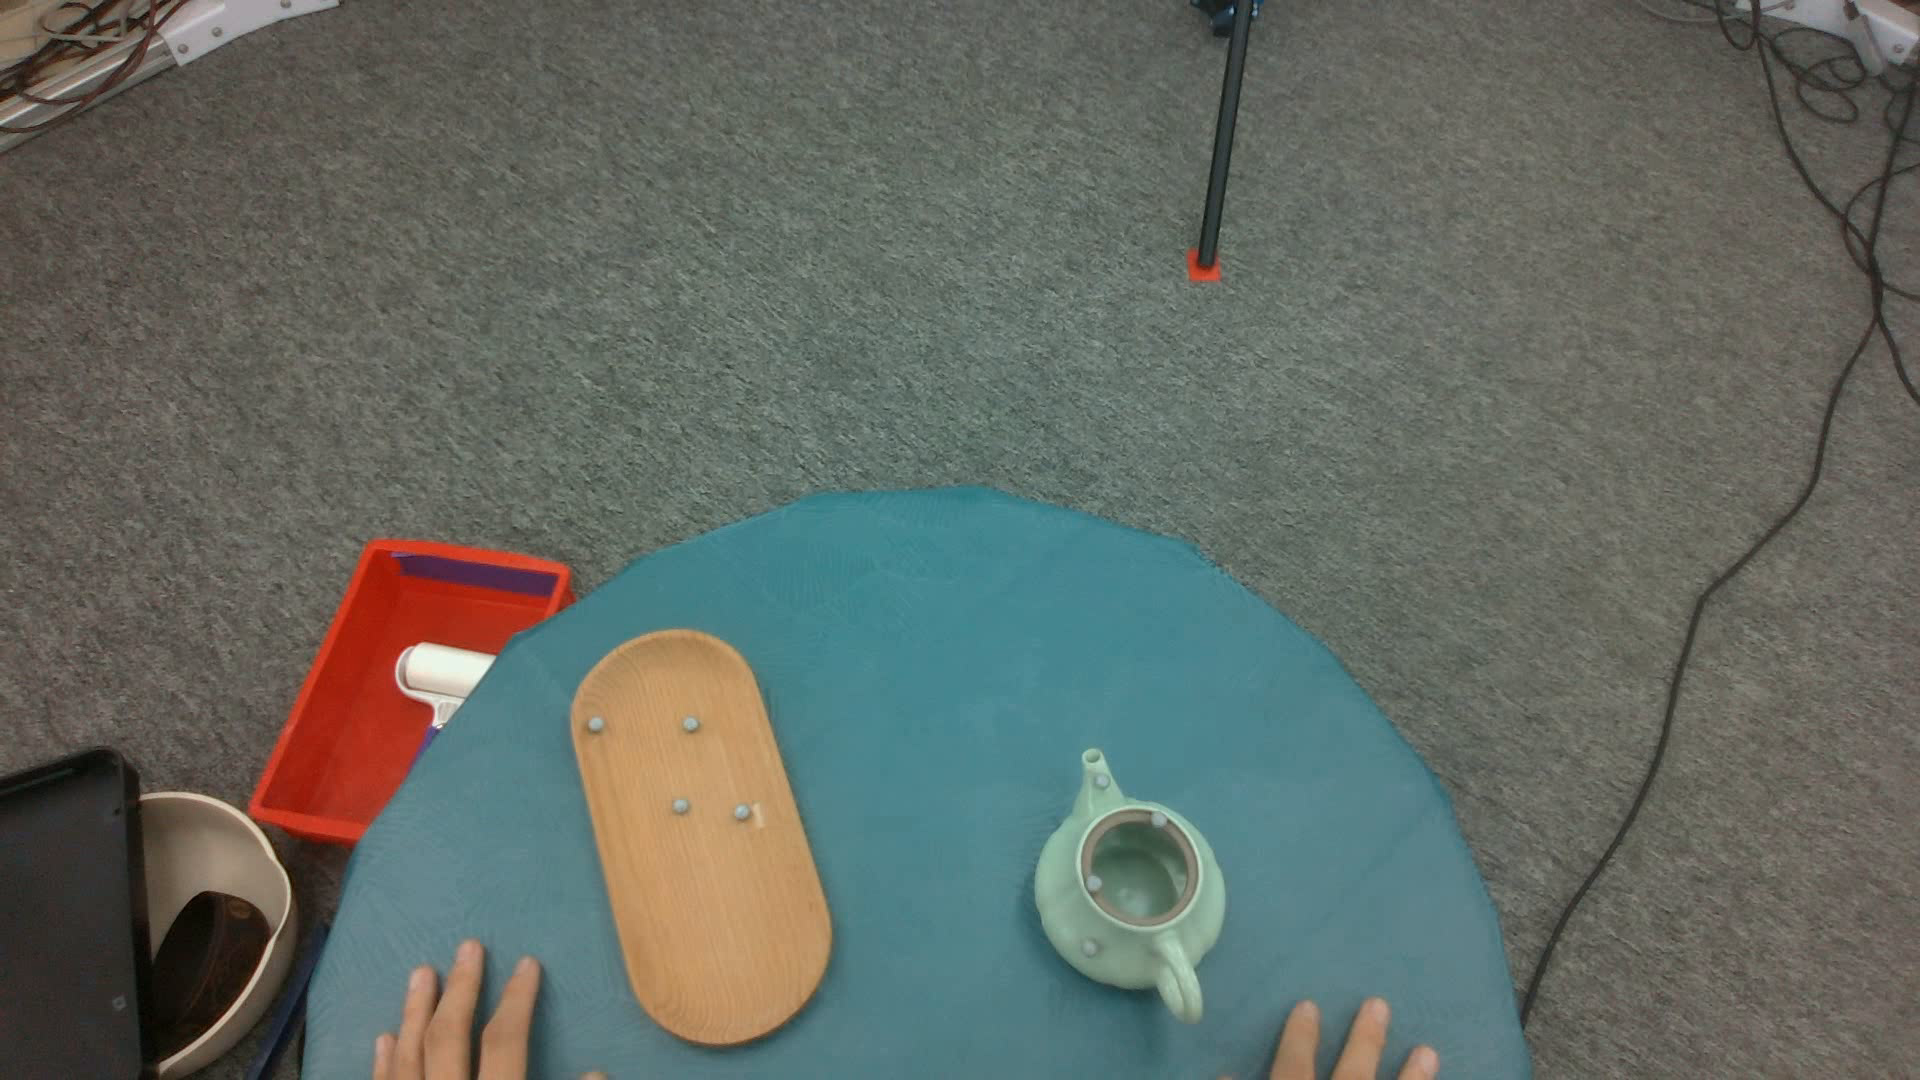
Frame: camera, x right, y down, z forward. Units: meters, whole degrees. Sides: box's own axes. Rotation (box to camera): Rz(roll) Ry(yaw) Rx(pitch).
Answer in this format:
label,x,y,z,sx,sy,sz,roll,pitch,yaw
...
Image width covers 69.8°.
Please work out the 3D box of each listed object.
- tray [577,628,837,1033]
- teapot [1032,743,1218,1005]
label,x,y,z,sx,sy,sz,roll,pitch,yaw
tray,-0.137,0.148,0.736,0.102,0.020,0.232,-18,61,-12
teapot,0.087,0.173,0.699,0.096,0.061,0.137,-18,60,-14
